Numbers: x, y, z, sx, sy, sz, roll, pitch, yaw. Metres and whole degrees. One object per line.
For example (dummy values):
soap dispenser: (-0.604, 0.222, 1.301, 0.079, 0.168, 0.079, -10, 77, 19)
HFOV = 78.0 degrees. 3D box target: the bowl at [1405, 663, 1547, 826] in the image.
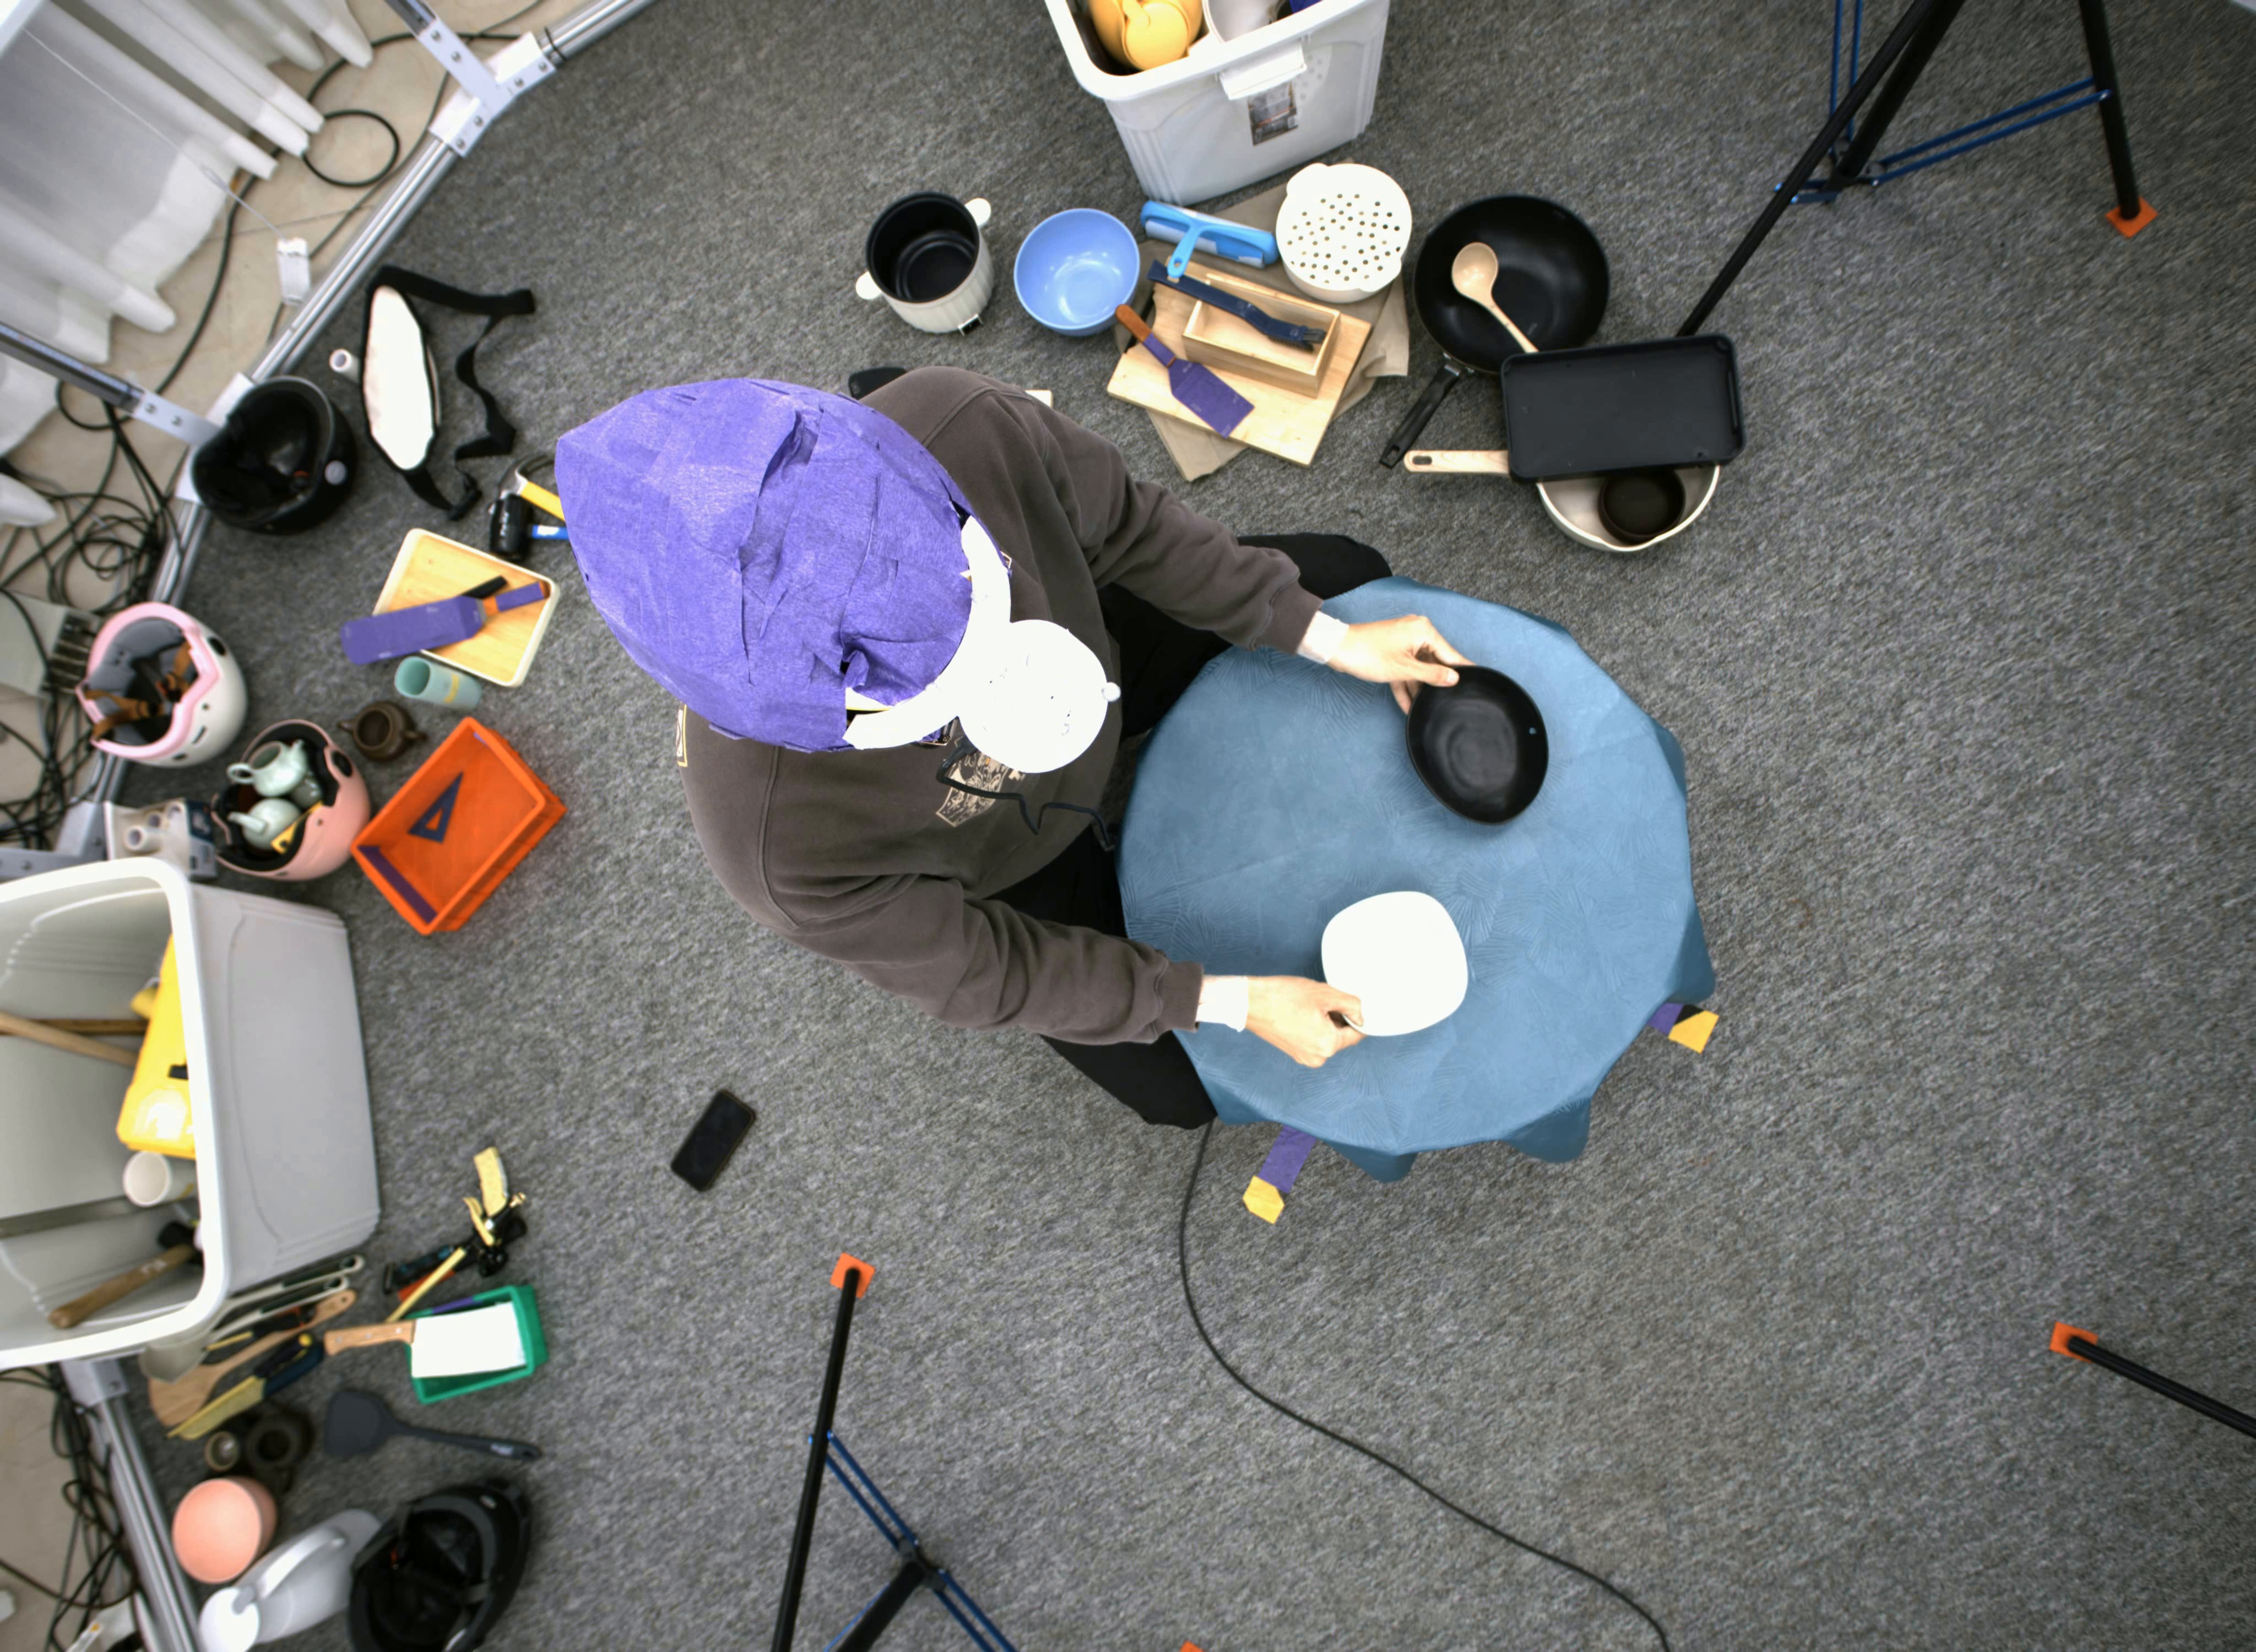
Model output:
bowl: (0.358, -0.085, 1.416, 0.138, 0.066, 0.169, -24, 86, 9)

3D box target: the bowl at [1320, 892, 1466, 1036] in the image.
bowl: (0.265, 0.140, 1.392, 0.152, 0.059, 0.150, -2, 81, 9)
